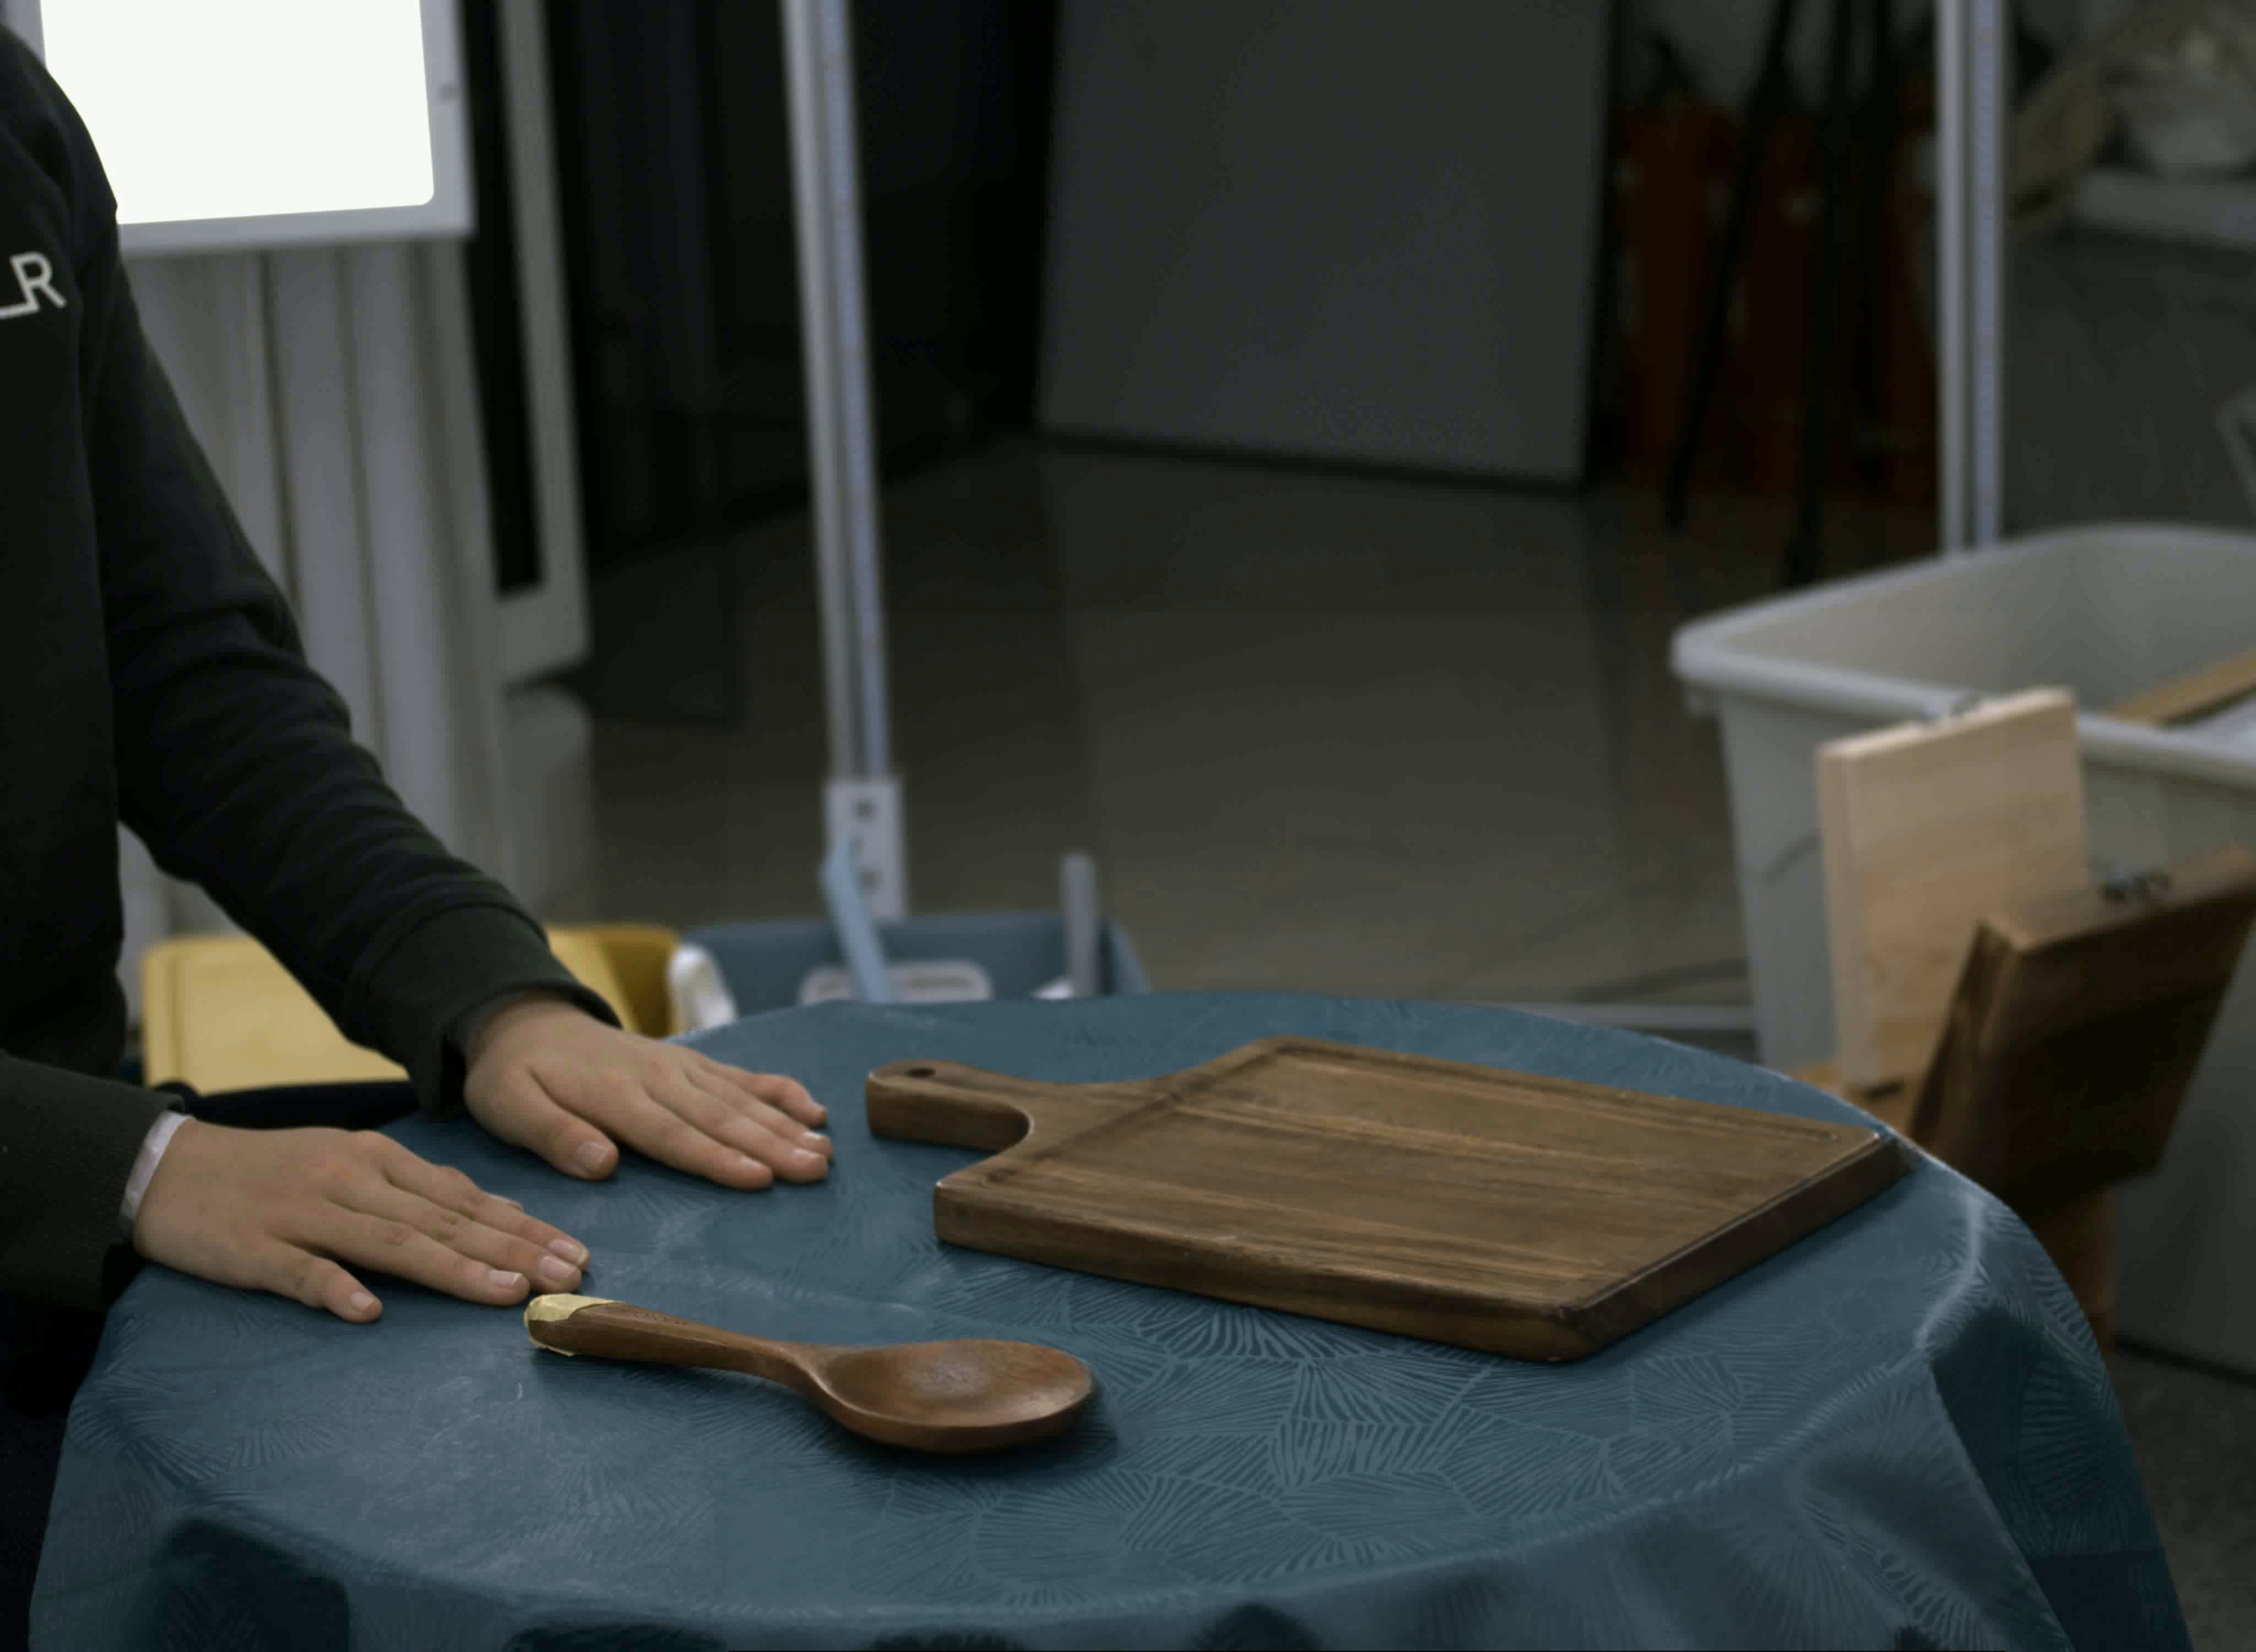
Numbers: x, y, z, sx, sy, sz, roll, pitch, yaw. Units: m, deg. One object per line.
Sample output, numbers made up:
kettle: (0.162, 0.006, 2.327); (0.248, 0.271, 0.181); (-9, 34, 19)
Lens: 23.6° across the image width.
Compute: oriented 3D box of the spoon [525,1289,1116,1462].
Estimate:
spoon: (-0.095, 0.161, 1.600); (0.217, 0.017, 0.074); (8, 20, 37)

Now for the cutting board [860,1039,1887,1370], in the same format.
cutting board: (0.052, 0.112, 1.756); (0.355, 0.023, 0.197); (7, 18, 38)
